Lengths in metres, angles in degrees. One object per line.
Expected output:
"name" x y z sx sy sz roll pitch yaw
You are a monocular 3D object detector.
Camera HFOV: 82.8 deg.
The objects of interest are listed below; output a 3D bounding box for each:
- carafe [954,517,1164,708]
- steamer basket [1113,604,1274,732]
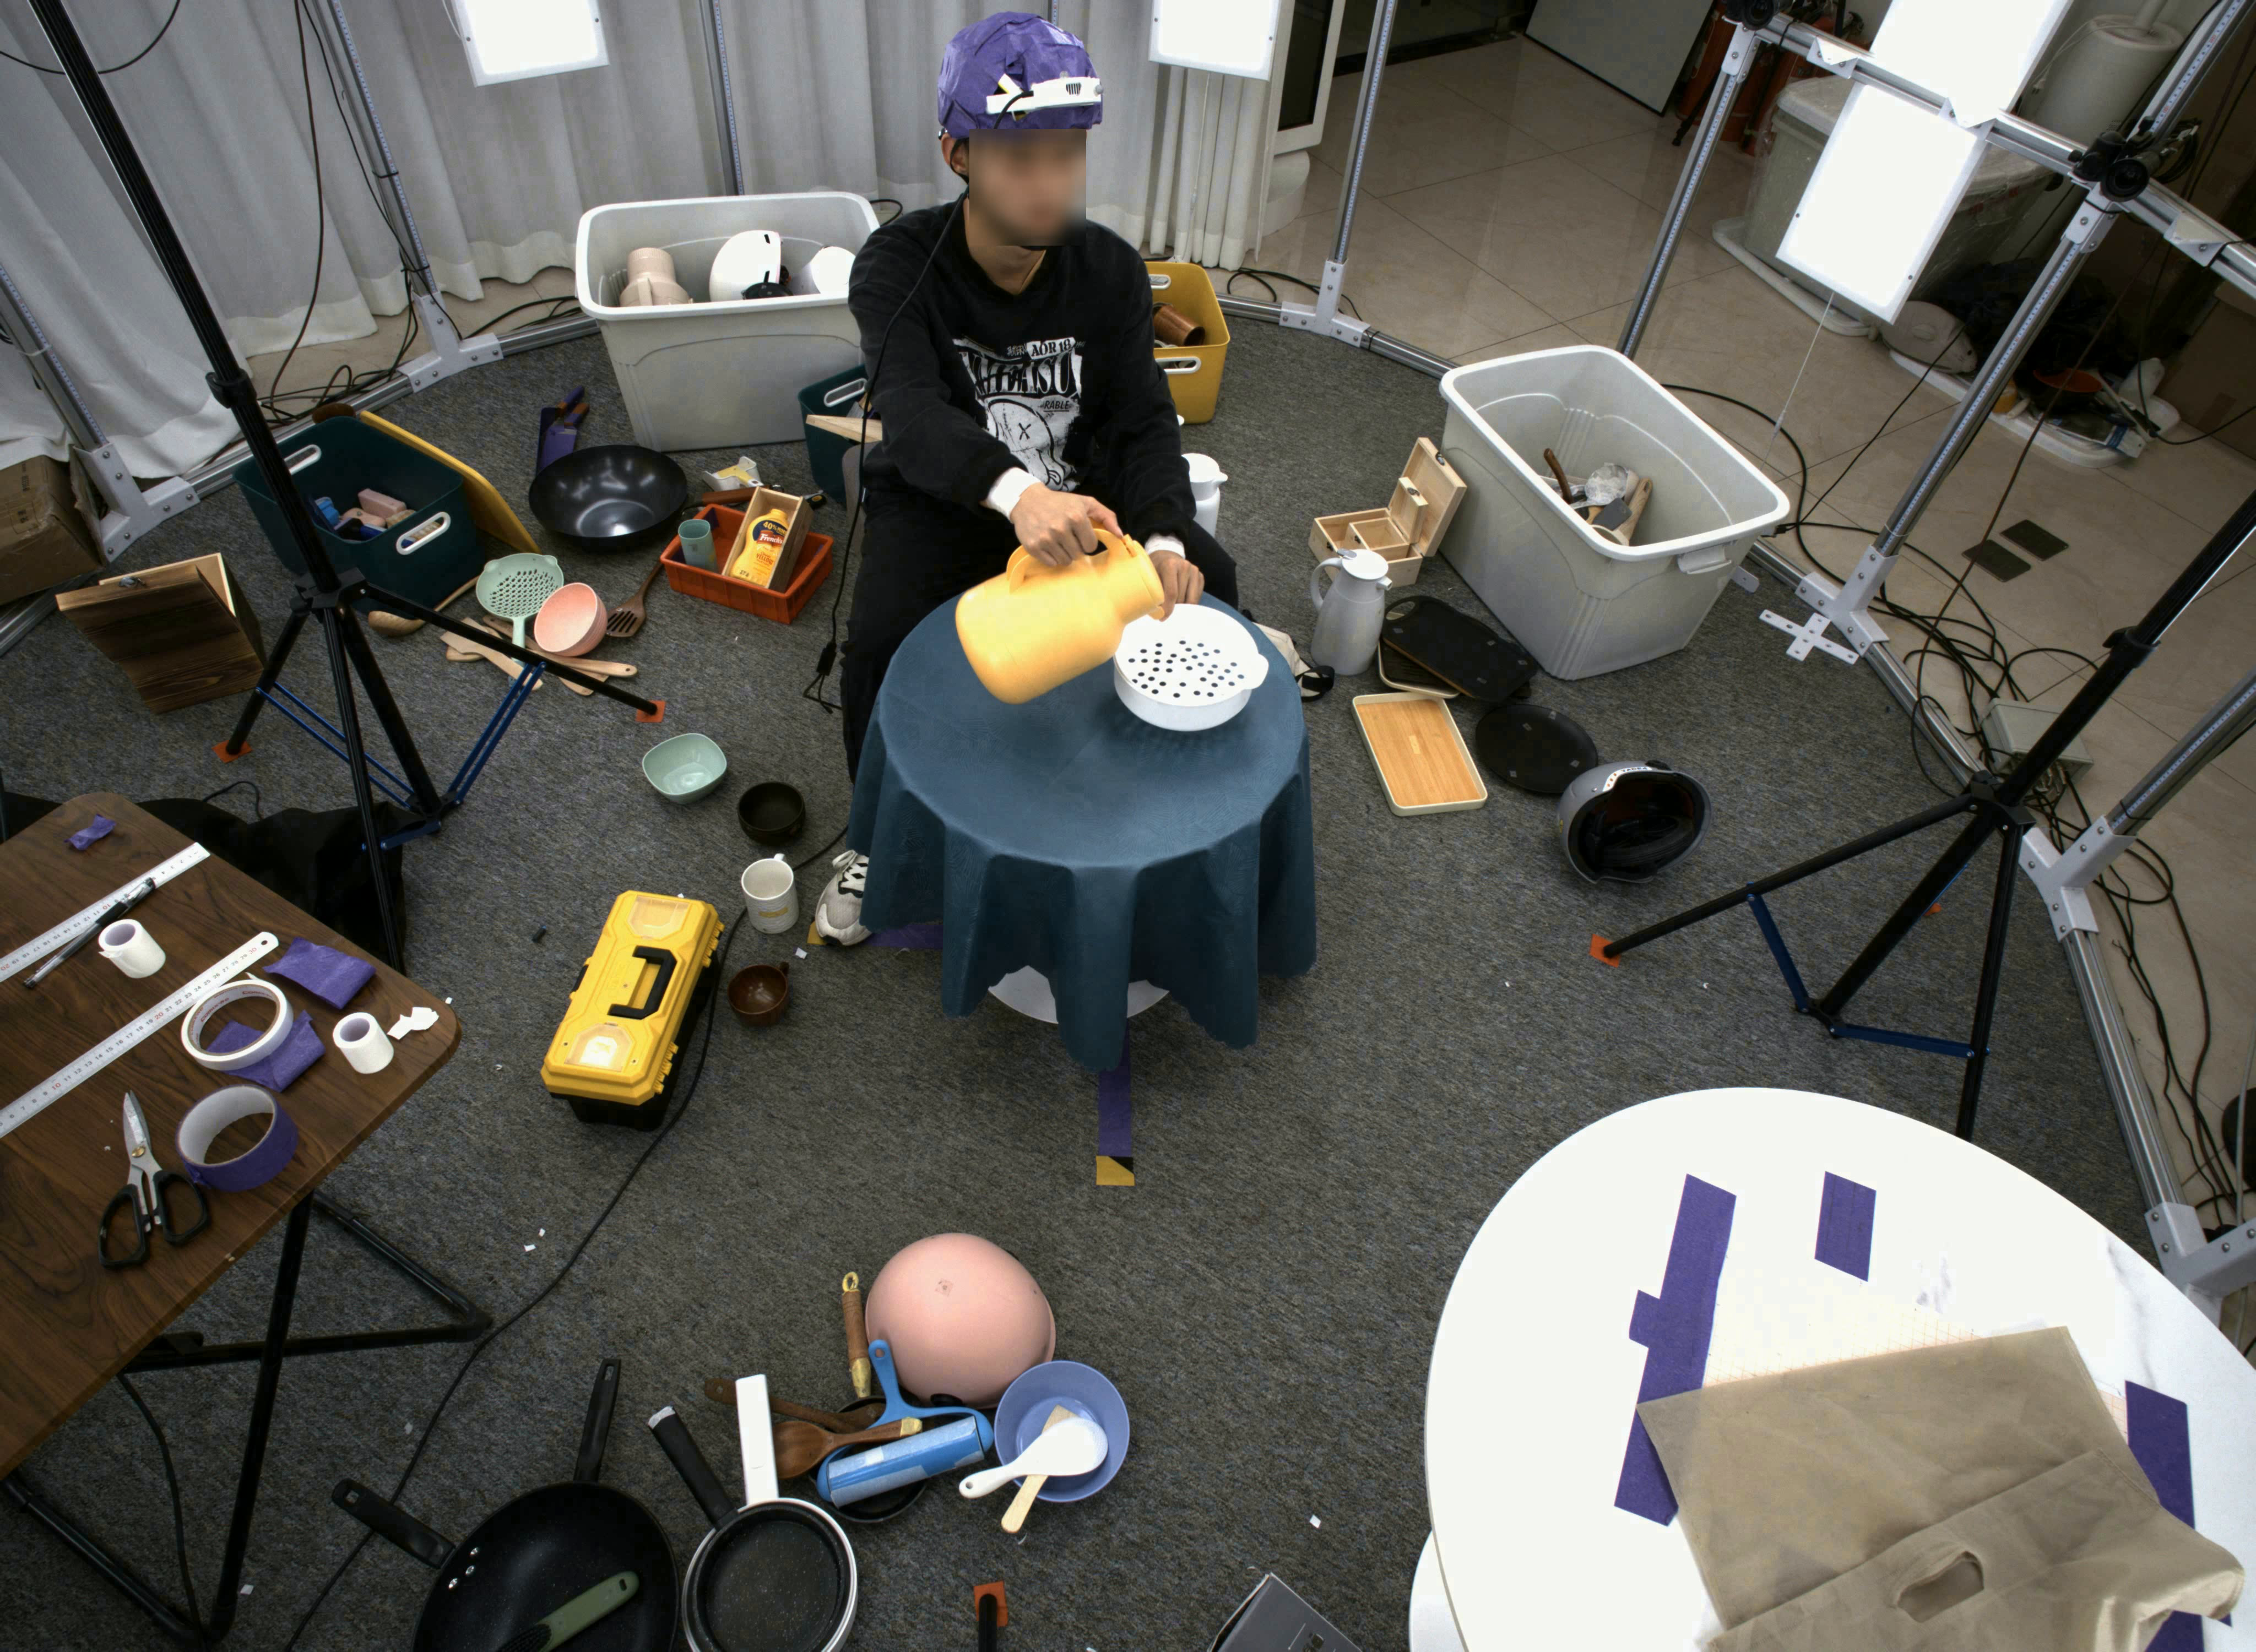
"carafe" -0.092 -0.283 1.644 0.259 0.198 0.167 -27 46 10
"steamer basket" 0.084 -0.218 1.778 0.231 0.067 0.206 18 51 9
